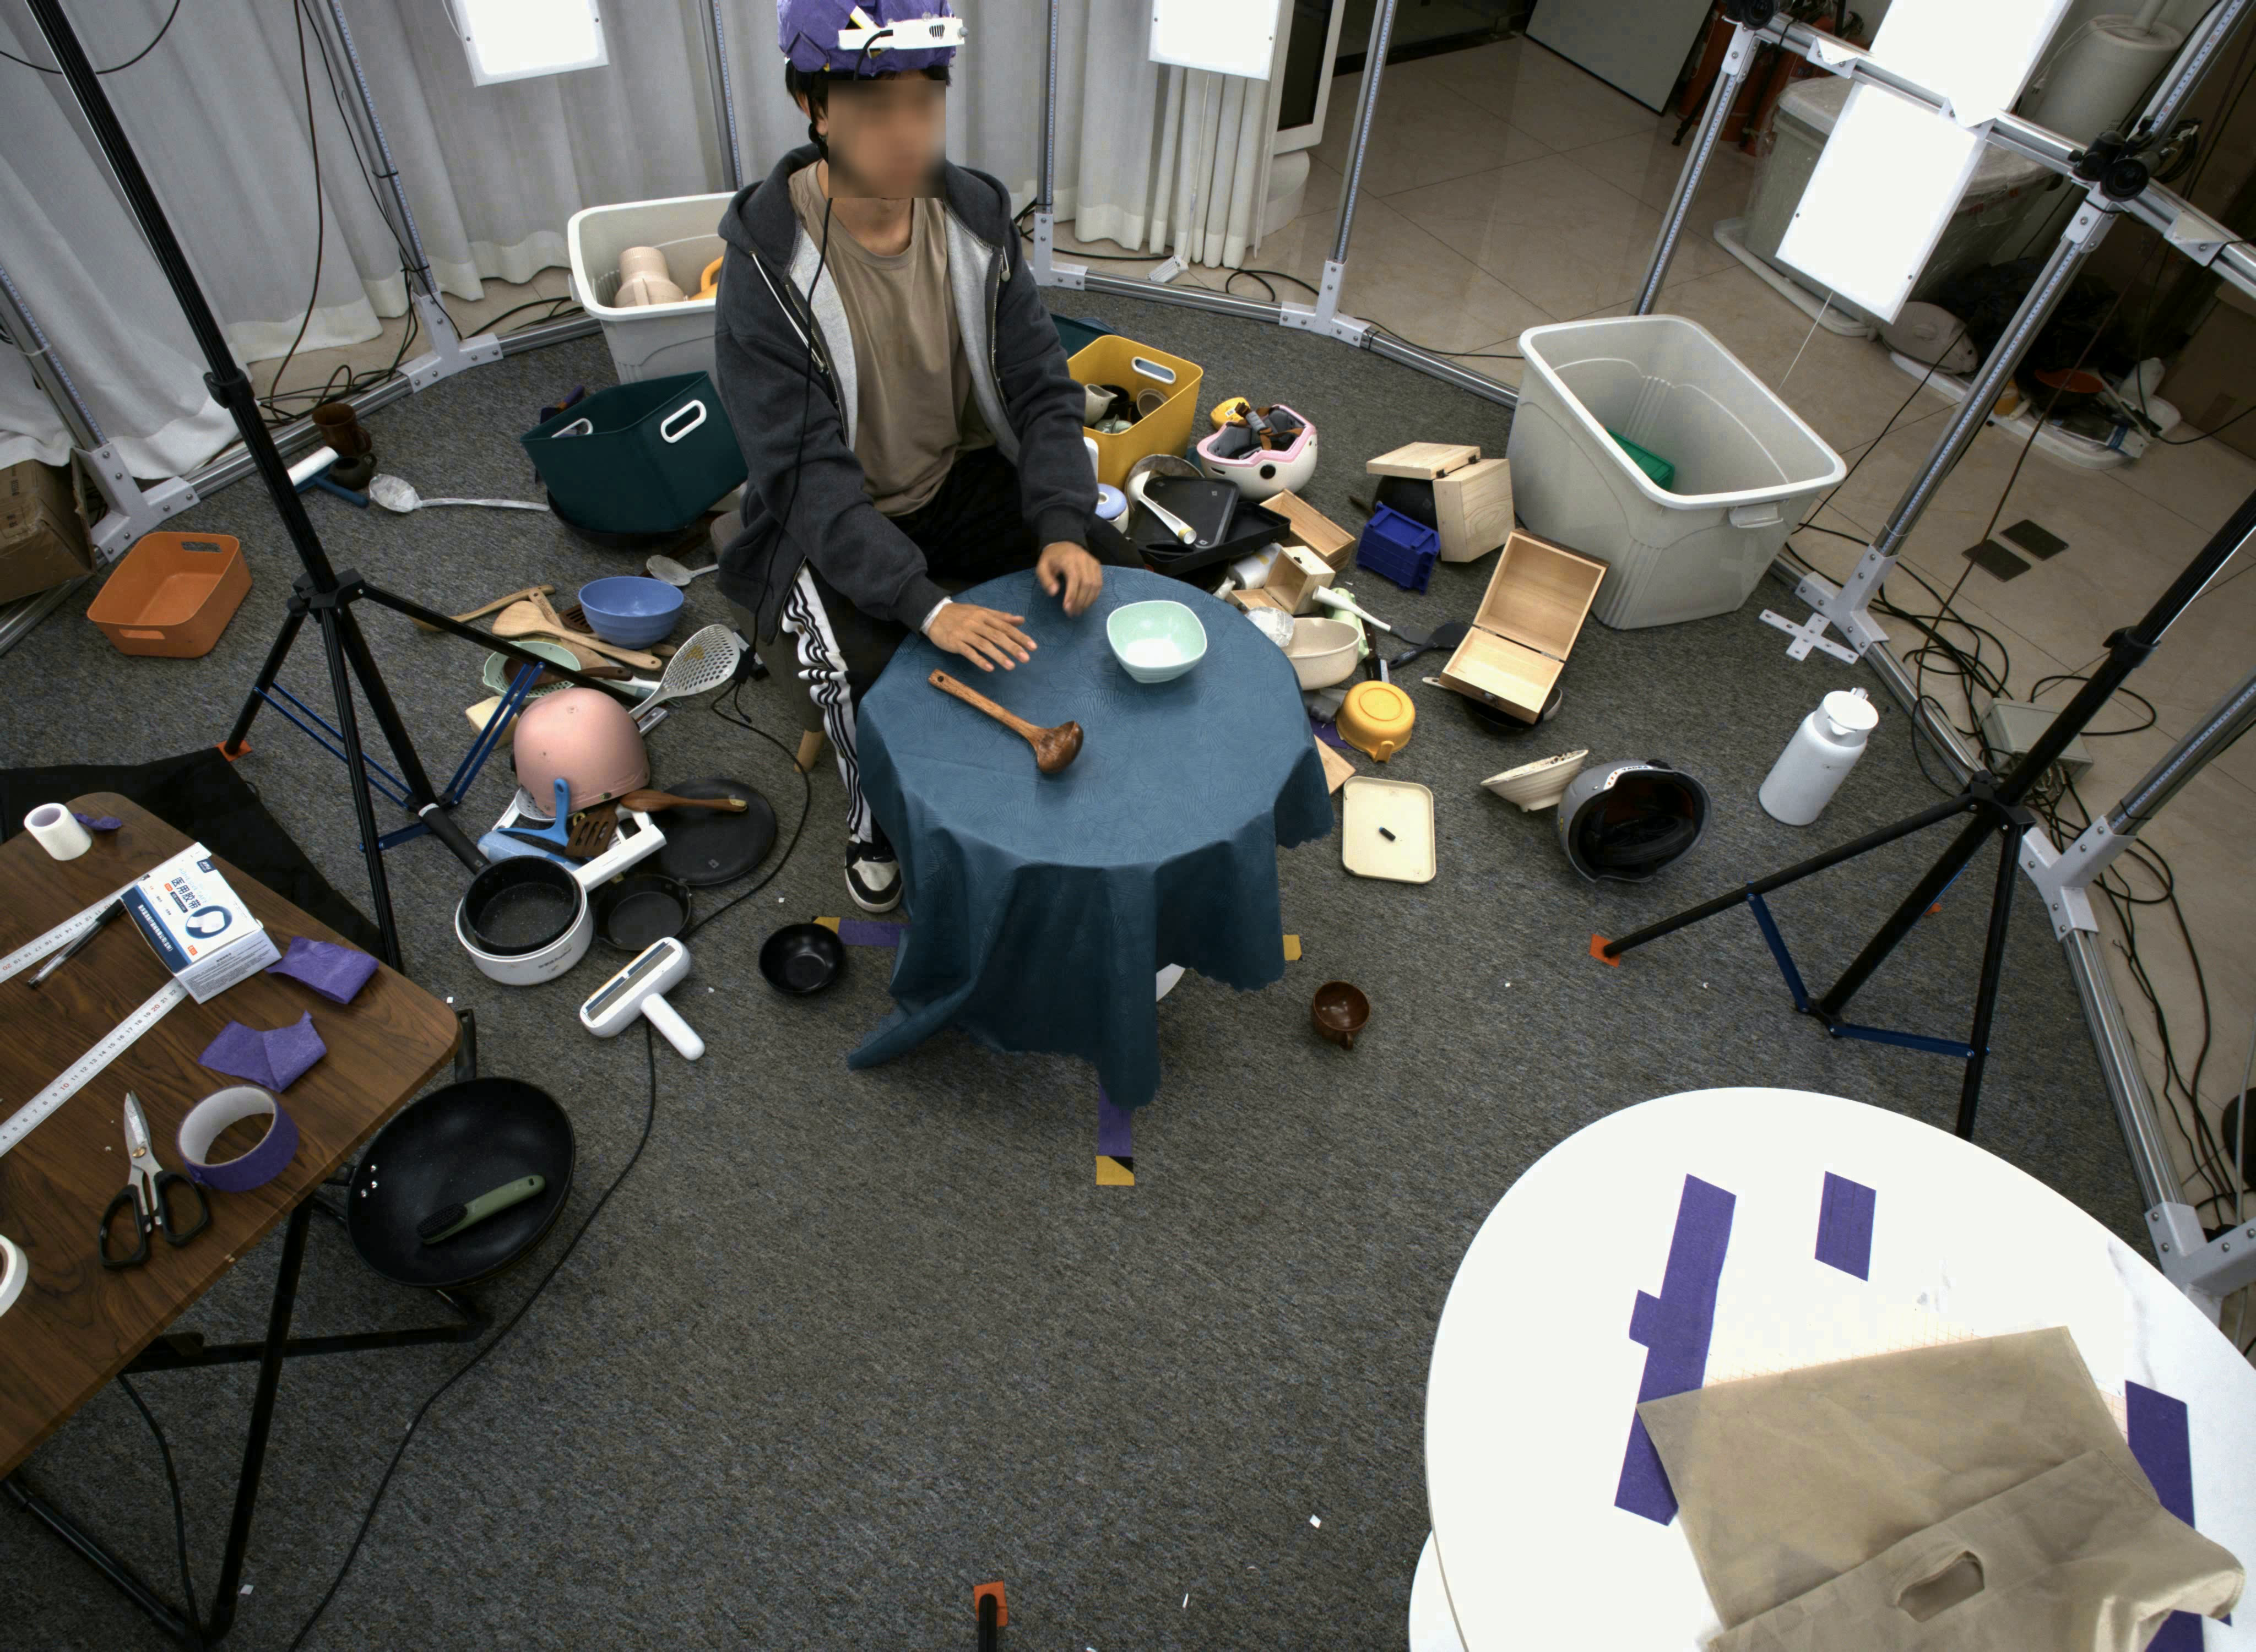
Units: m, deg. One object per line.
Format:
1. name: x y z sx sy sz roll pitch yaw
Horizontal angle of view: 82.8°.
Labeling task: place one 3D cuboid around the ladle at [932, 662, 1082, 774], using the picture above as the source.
1. ladle: -0.176 -0.159 1.743 0.277 0.075 0.082 34 81 22

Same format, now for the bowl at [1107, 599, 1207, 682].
1. bowl: 0.039 -0.259 1.857 0.151 0.057 0.155 2 51 -3
